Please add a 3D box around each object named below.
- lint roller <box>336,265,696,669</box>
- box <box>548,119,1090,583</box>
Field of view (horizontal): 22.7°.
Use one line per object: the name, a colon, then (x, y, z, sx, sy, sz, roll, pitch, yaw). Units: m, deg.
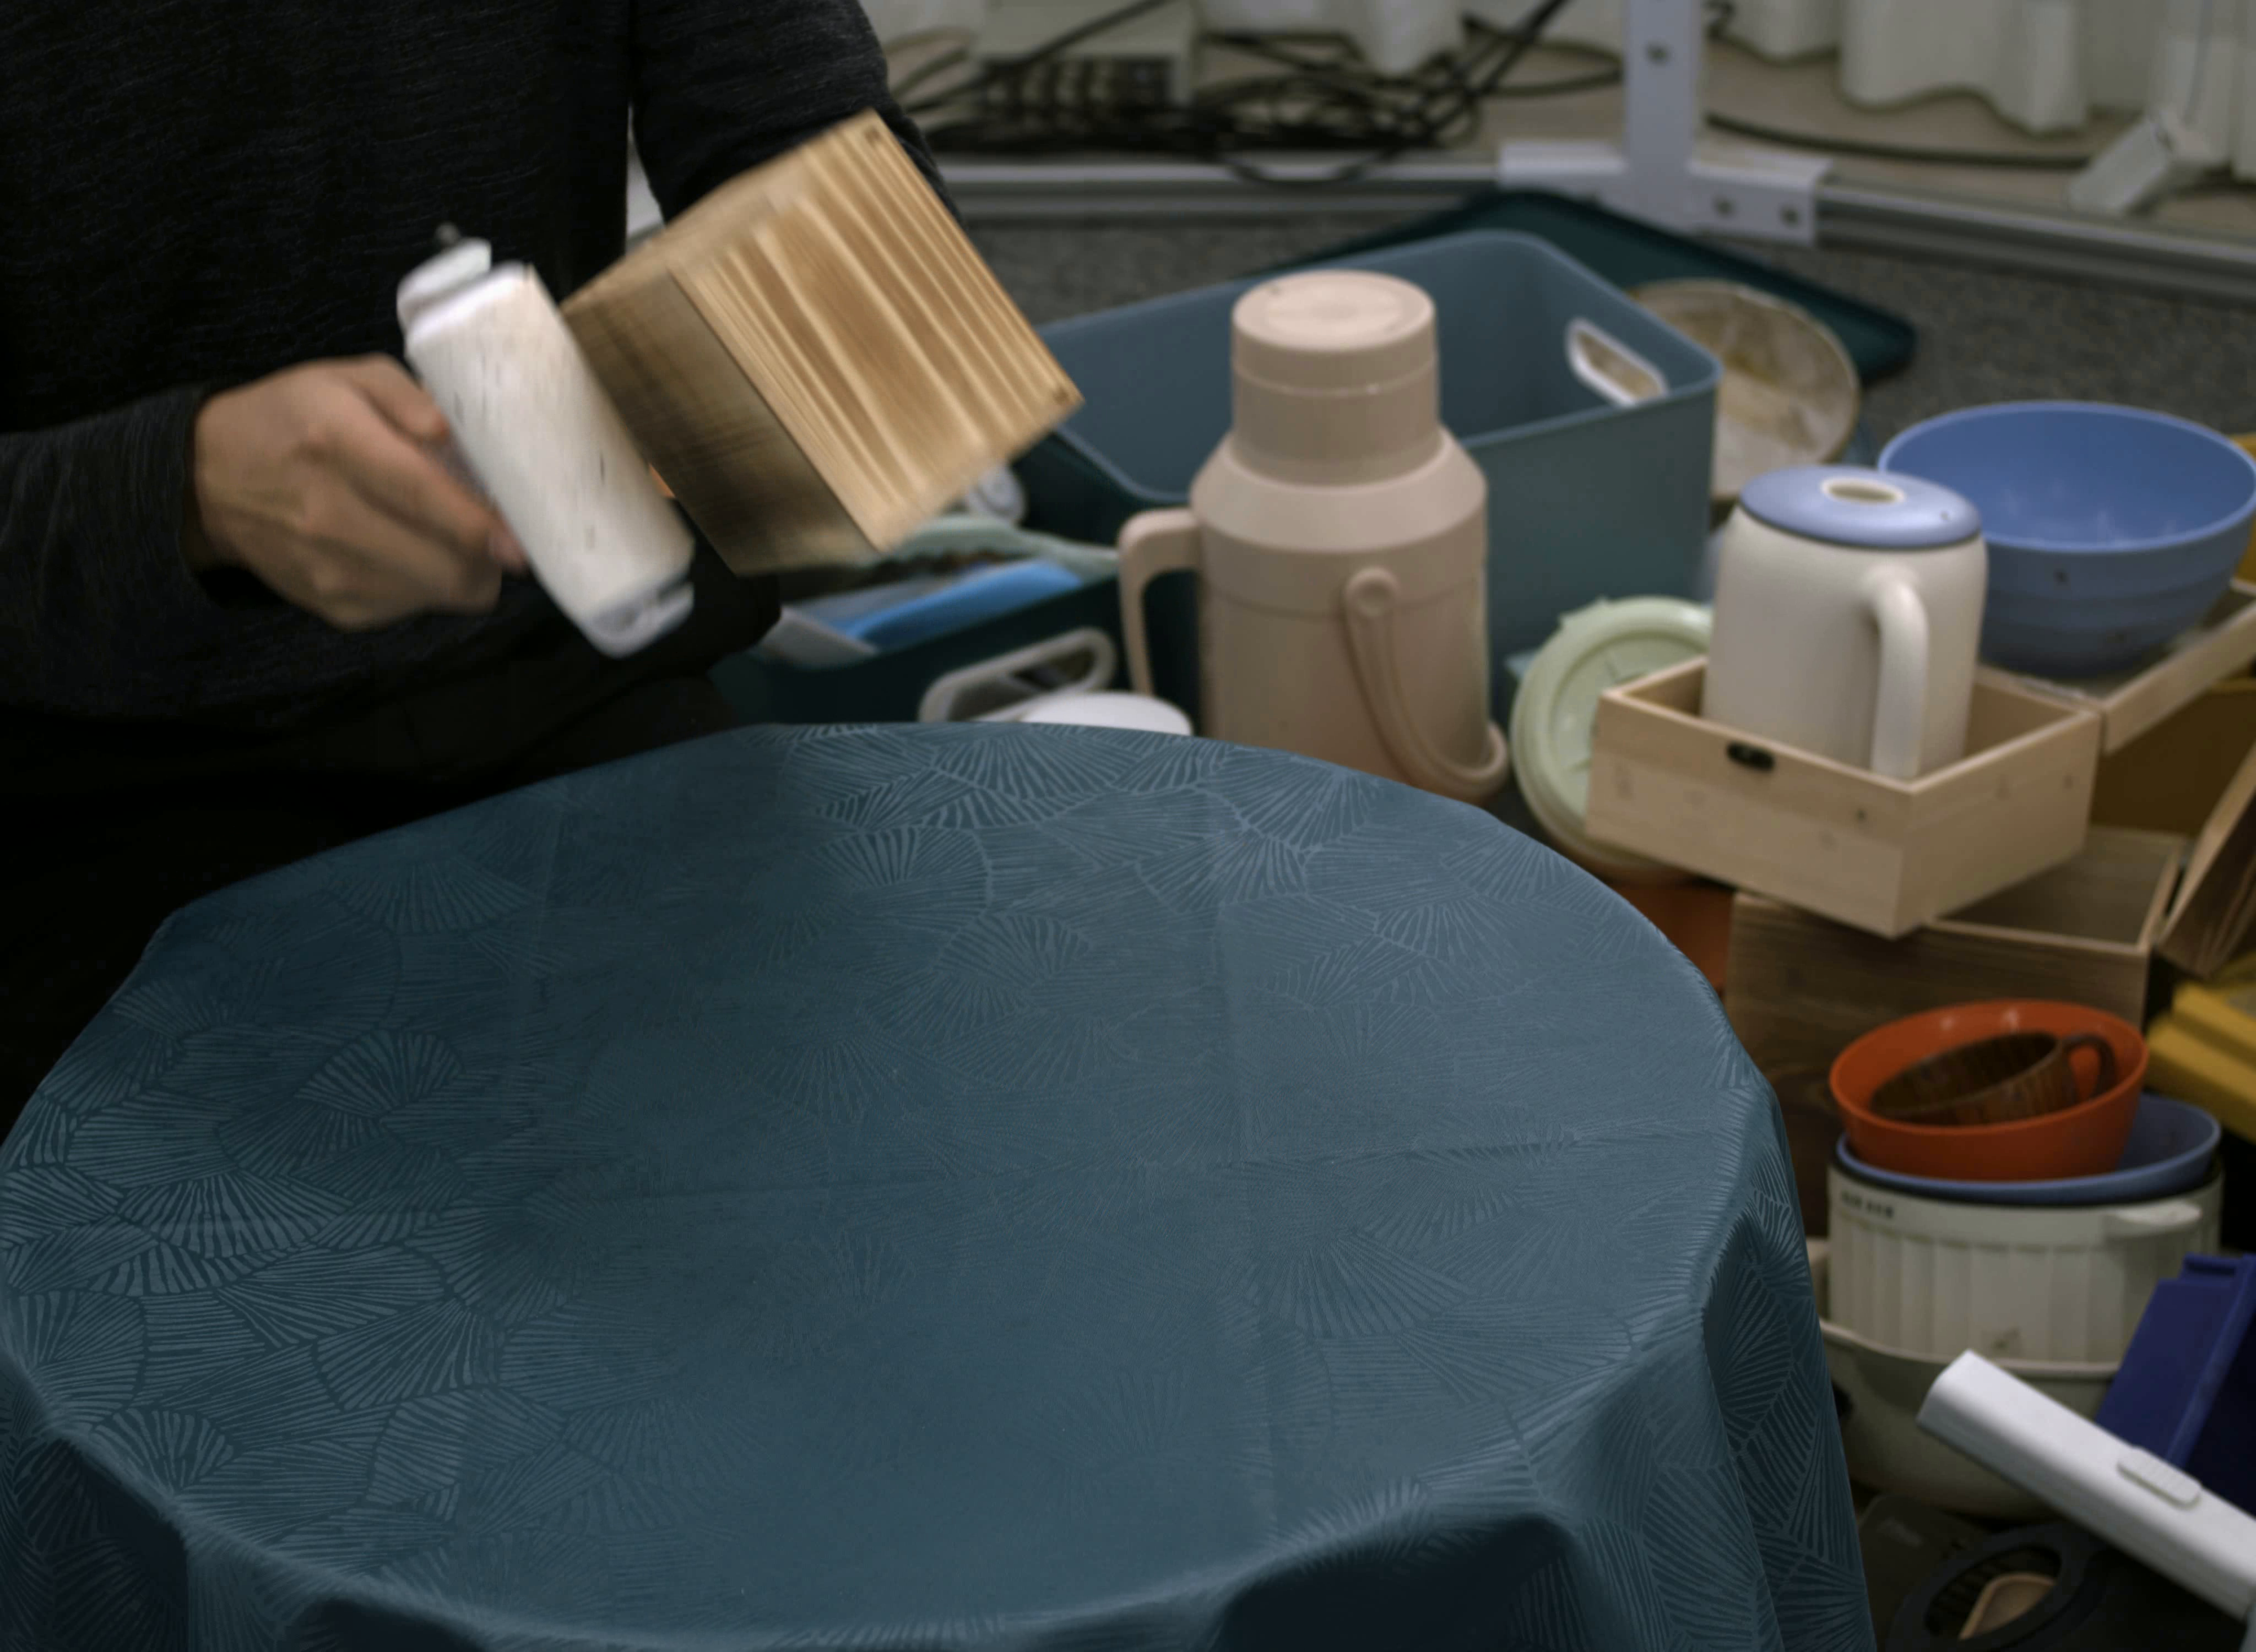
lint roller: (-0.217, -0.101, 1.788, 0.051, 0.132, 0.178, -38, 15, -38)
box: (-0.101, -0.144, 1.760, 0.081, 0.107, 0.210, -39, 11, -13)
